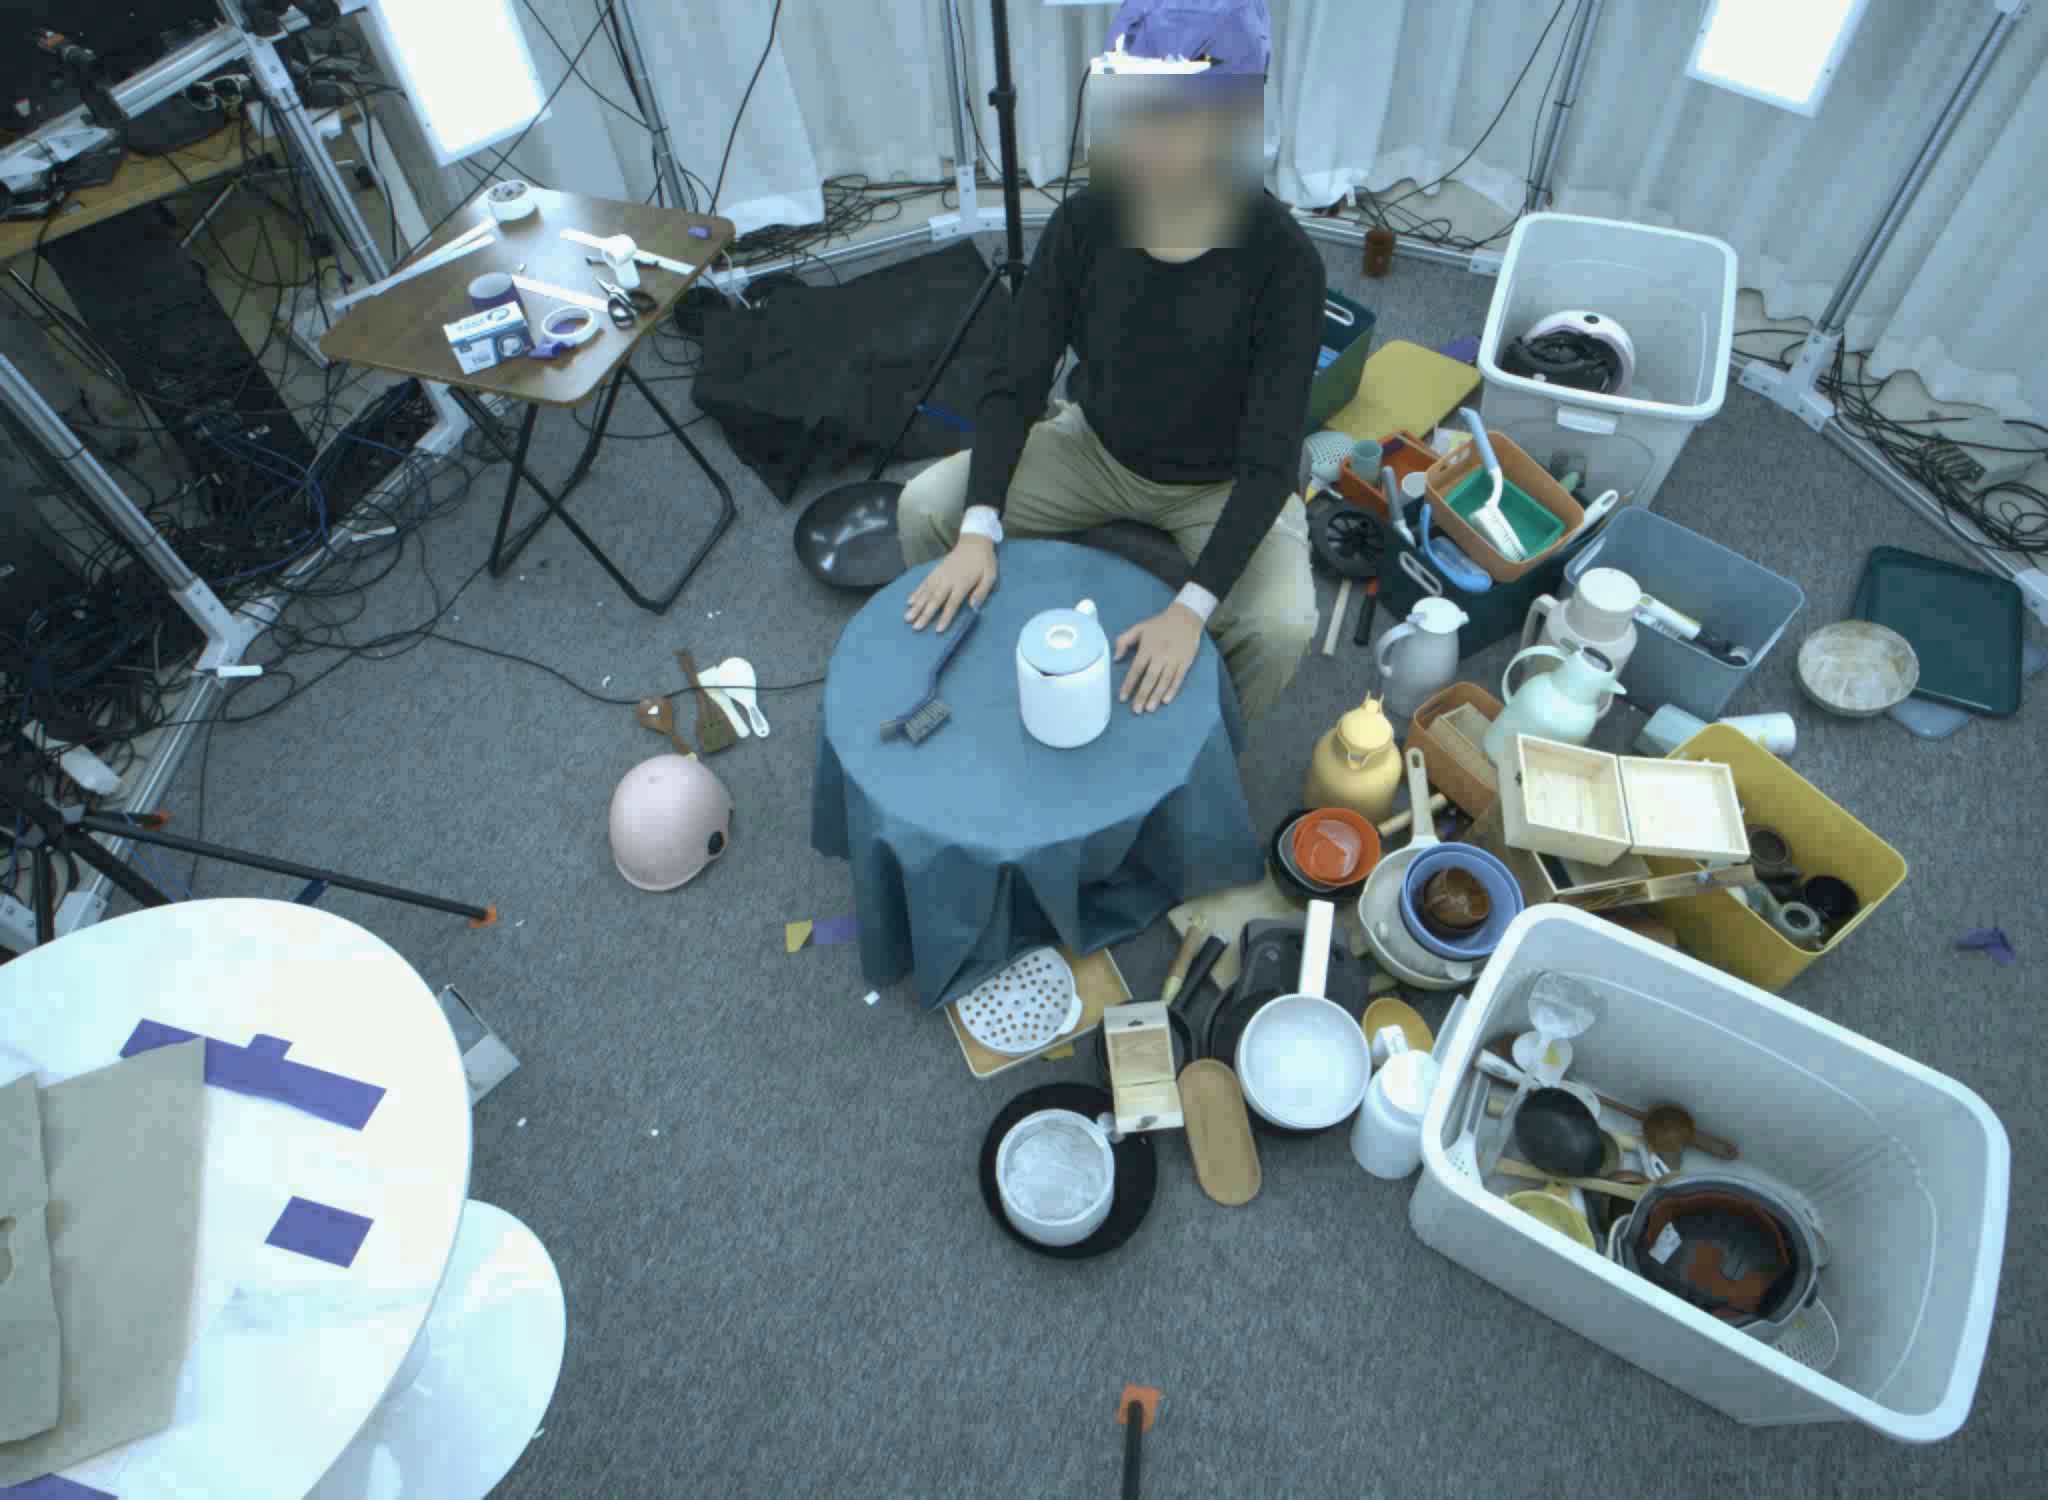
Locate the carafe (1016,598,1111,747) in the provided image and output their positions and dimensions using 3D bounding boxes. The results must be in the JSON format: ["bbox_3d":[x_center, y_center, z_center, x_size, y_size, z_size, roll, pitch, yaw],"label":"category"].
[{"bbox_3d":[0.065,-0.121,1.765,0.131,0.184,0.191,15,56,13],"label":"carafe"}]

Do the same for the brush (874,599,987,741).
[{"bbox_3d":[-0.135,-0.126,1.863,0.094,0.034,0.272,13,57,15],"label":"brush"}]
